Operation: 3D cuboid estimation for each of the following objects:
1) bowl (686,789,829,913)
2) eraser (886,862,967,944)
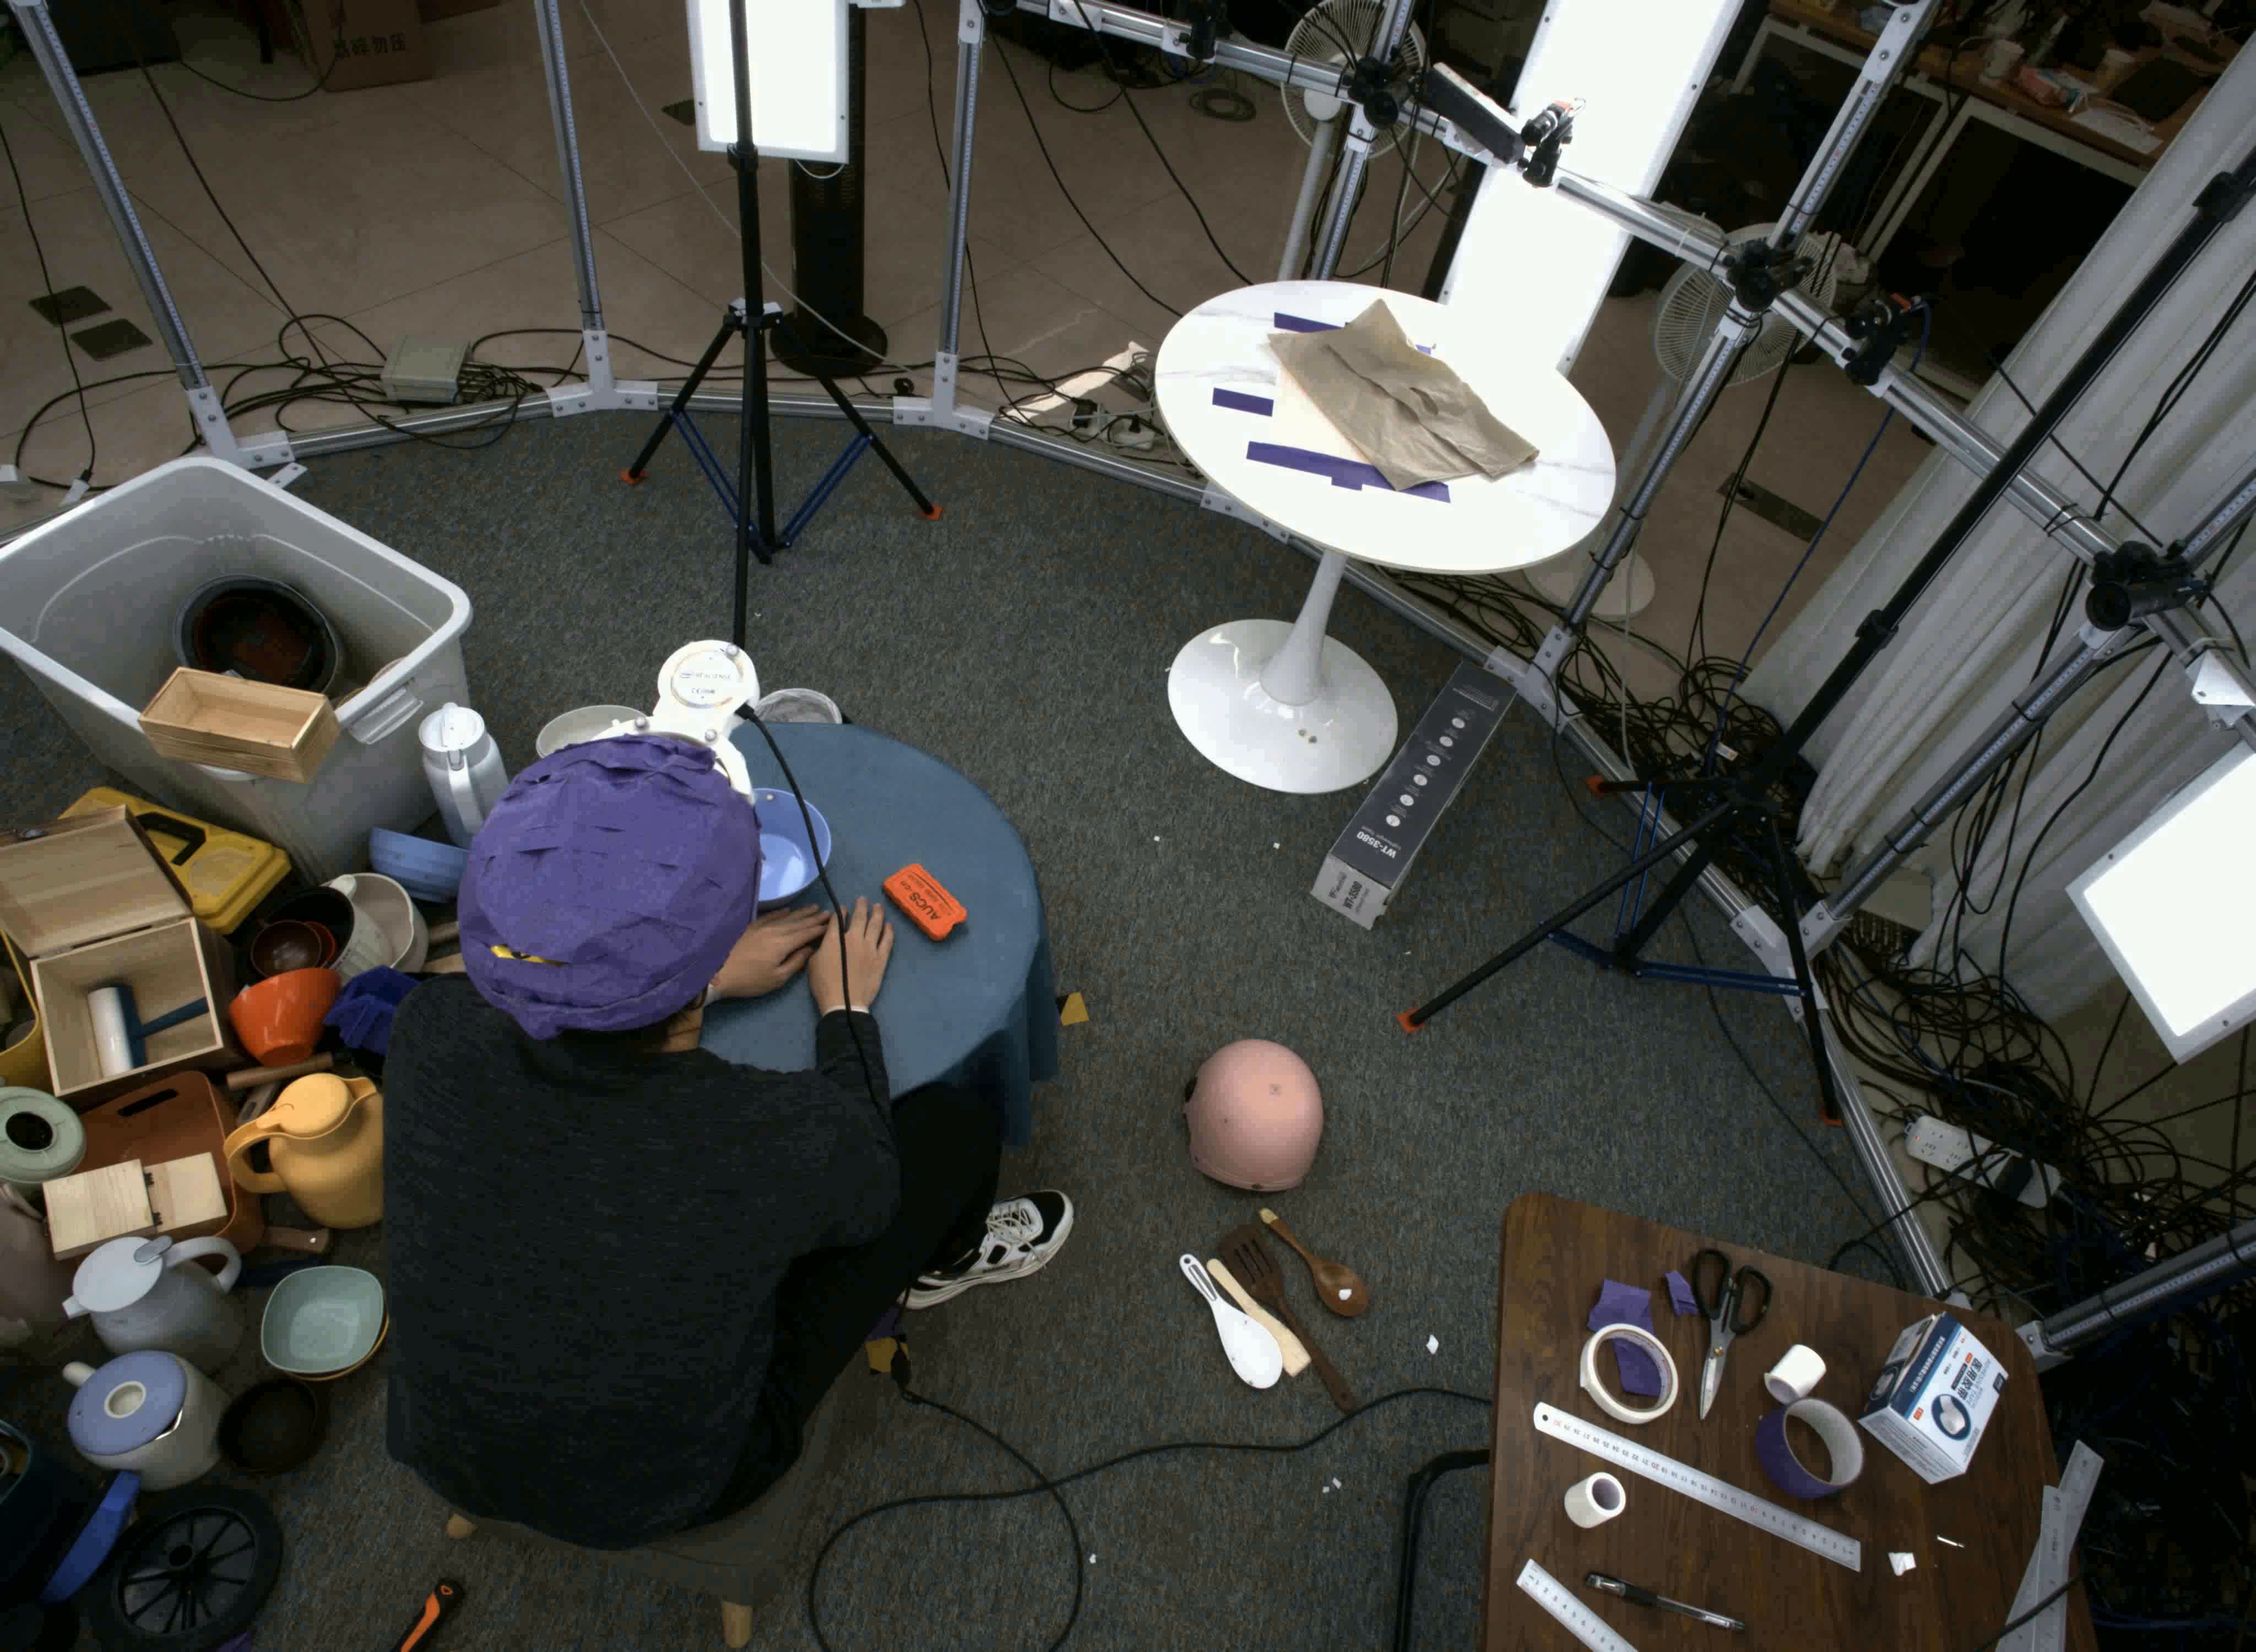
[{"bbox_3d":[-0.465,0.041,1.633,0.176,0.072,0.173,8,52,-9],"label":"bowl"},{"bbox_3d":[-0.260,0.097,1.675,0.106,0.023,0.059,42,53,17],"label":"eraser"}]
